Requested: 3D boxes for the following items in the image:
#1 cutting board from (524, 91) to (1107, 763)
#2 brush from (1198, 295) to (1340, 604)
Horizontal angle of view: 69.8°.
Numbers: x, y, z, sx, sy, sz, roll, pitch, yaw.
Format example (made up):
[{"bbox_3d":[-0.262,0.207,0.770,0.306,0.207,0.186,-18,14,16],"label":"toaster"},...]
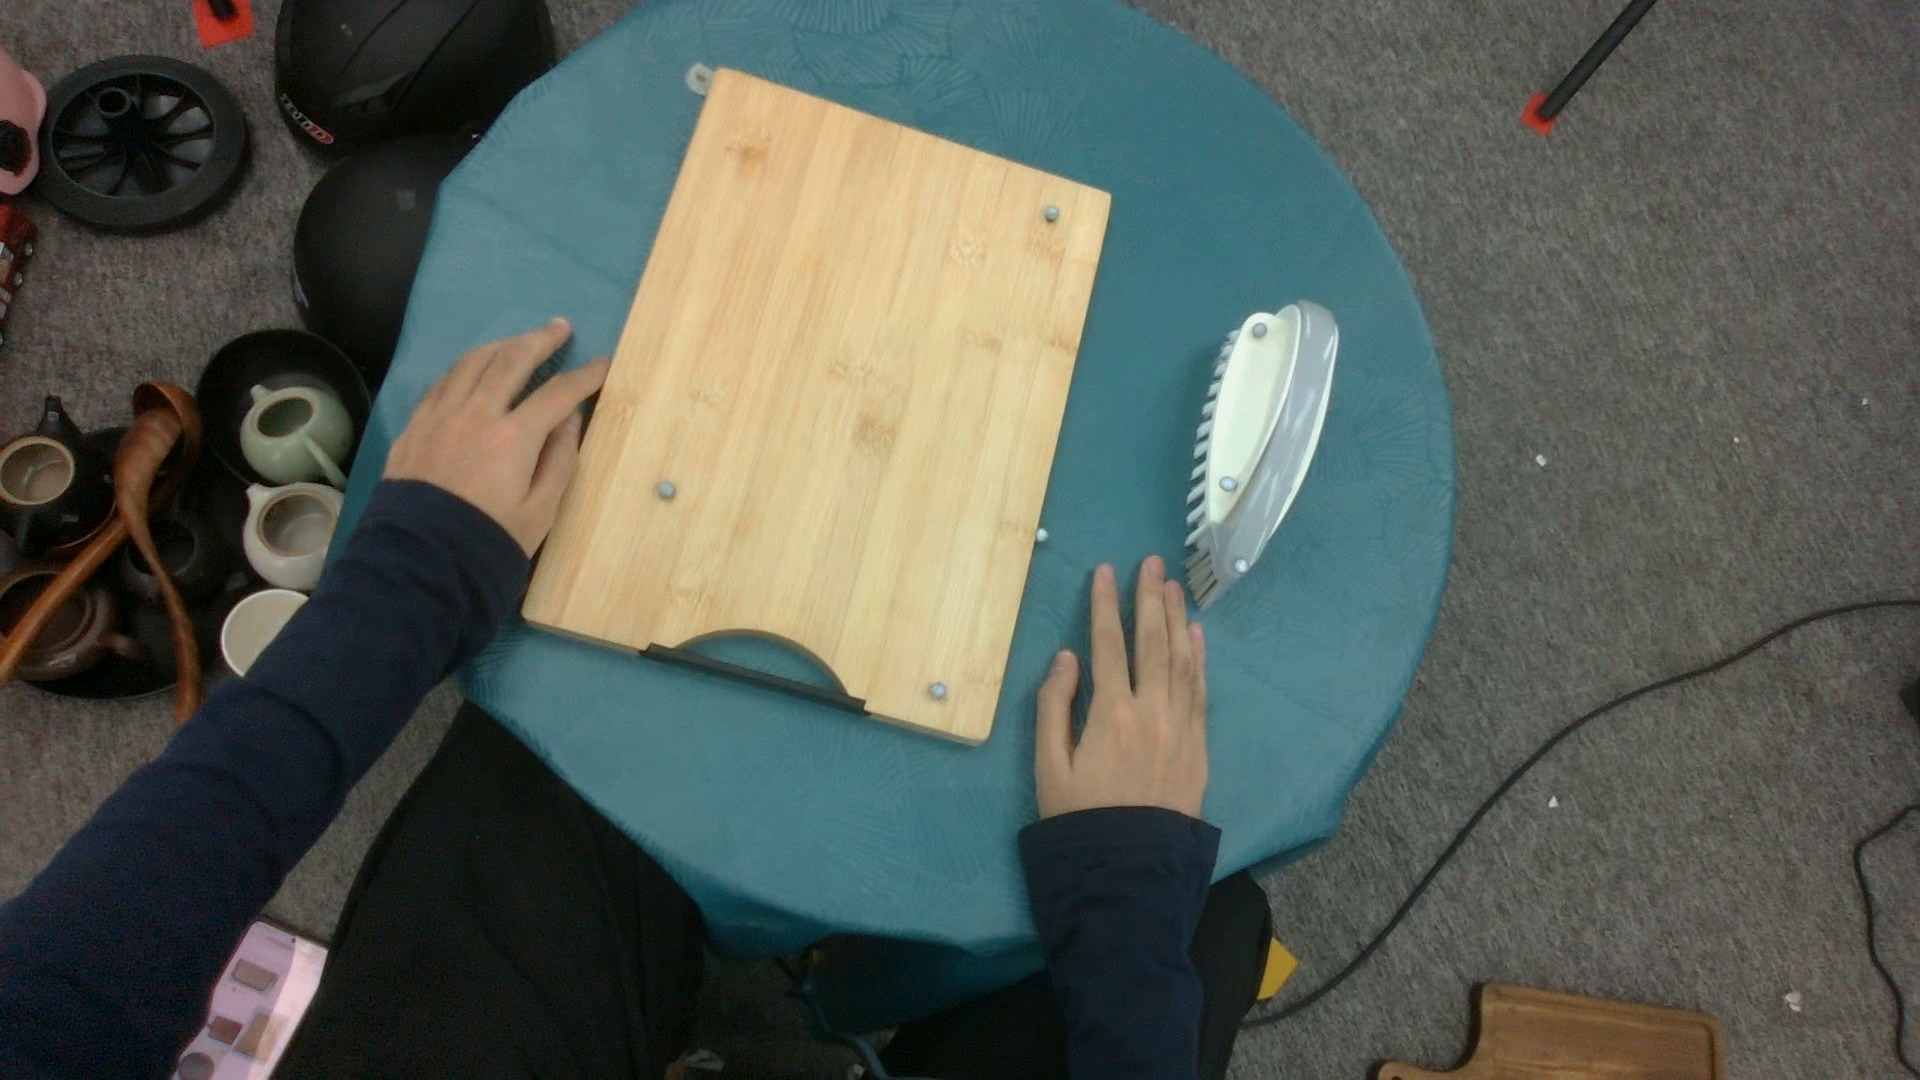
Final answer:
[{"bbox_3d":[-0.065,-0.072,0.763,0.251,0.023,0.350,14,69,-5],"label":"cutting board"},{"bbox_3d":[0.172,-0.055,0.762,0.061,0.094,0.176,19,71,-2],"label":"brush"}]
